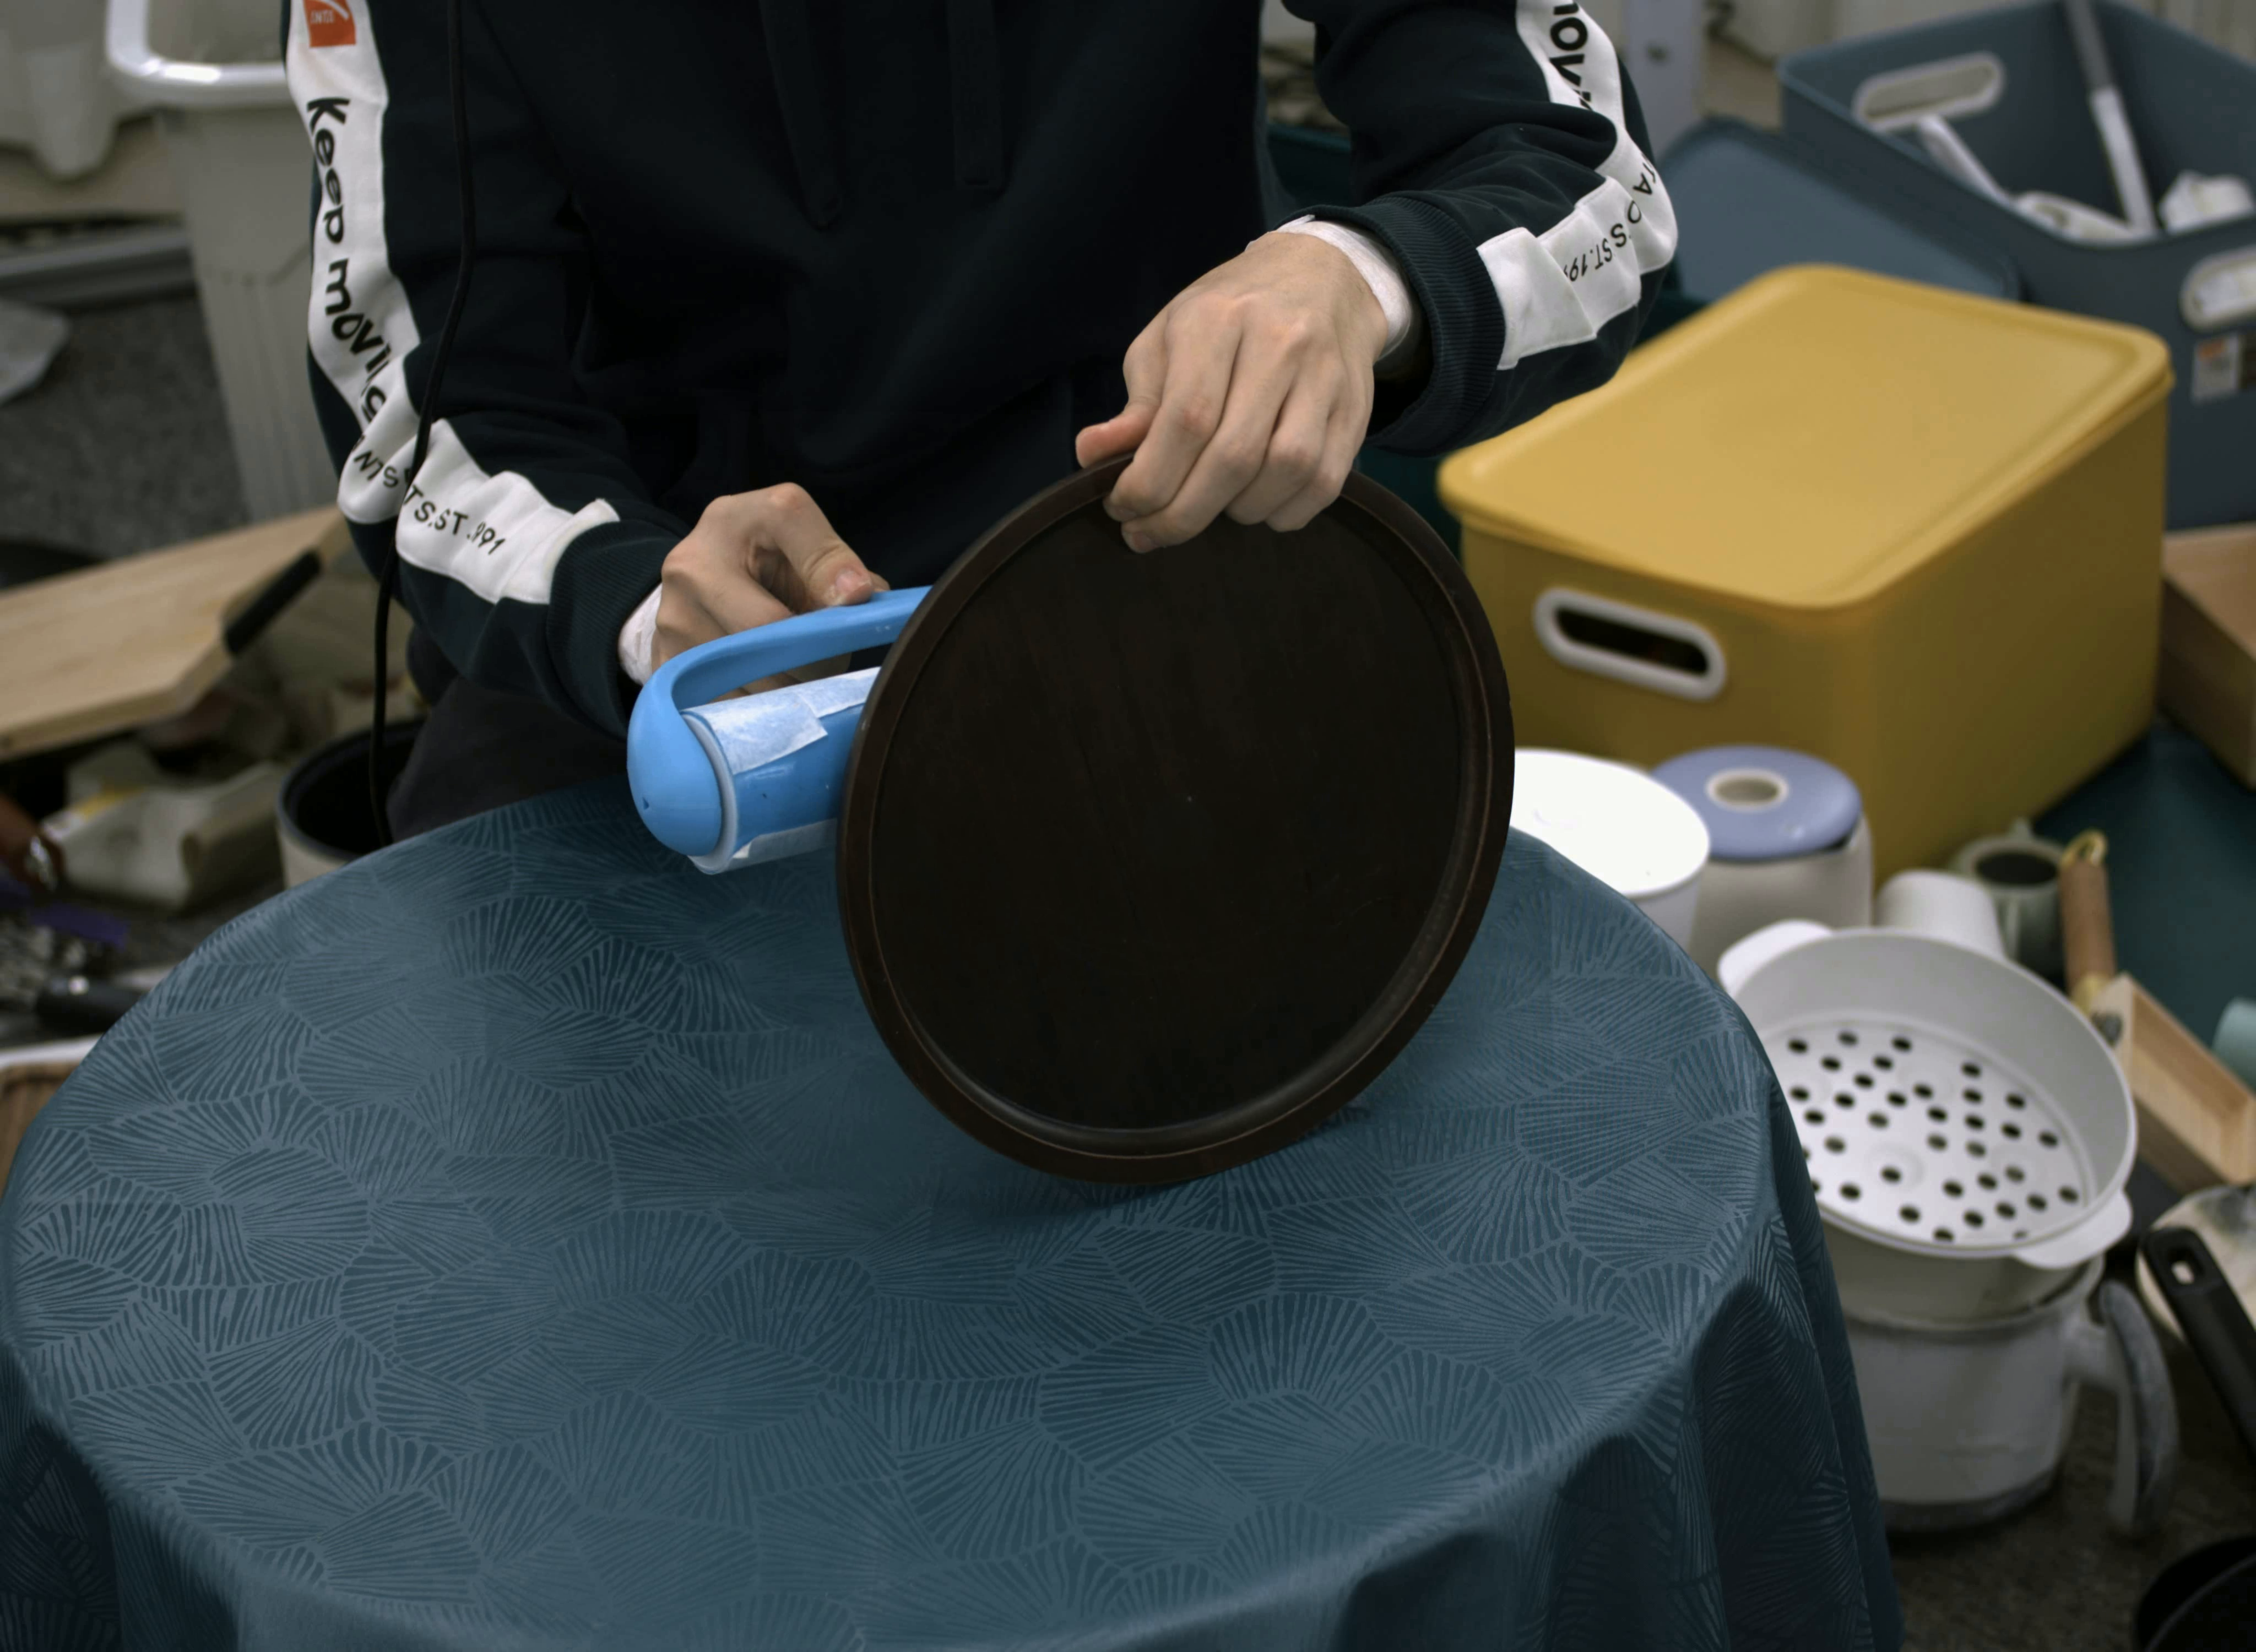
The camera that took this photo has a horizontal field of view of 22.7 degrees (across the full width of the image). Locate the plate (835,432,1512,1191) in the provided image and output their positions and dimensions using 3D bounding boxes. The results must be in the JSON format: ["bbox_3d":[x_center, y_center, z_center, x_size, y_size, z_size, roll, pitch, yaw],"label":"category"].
[{"bbox_3d":[0.015,-0.005,1.838,0.256,0.253,0.029,-18,21,-27],"label":"plate"}]

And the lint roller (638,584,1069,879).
[{"bbox_3d":[-0.088,-0.045,1.882,0.231,0.067,0.180,-17,23,-32],"label":"lint roller"}]
